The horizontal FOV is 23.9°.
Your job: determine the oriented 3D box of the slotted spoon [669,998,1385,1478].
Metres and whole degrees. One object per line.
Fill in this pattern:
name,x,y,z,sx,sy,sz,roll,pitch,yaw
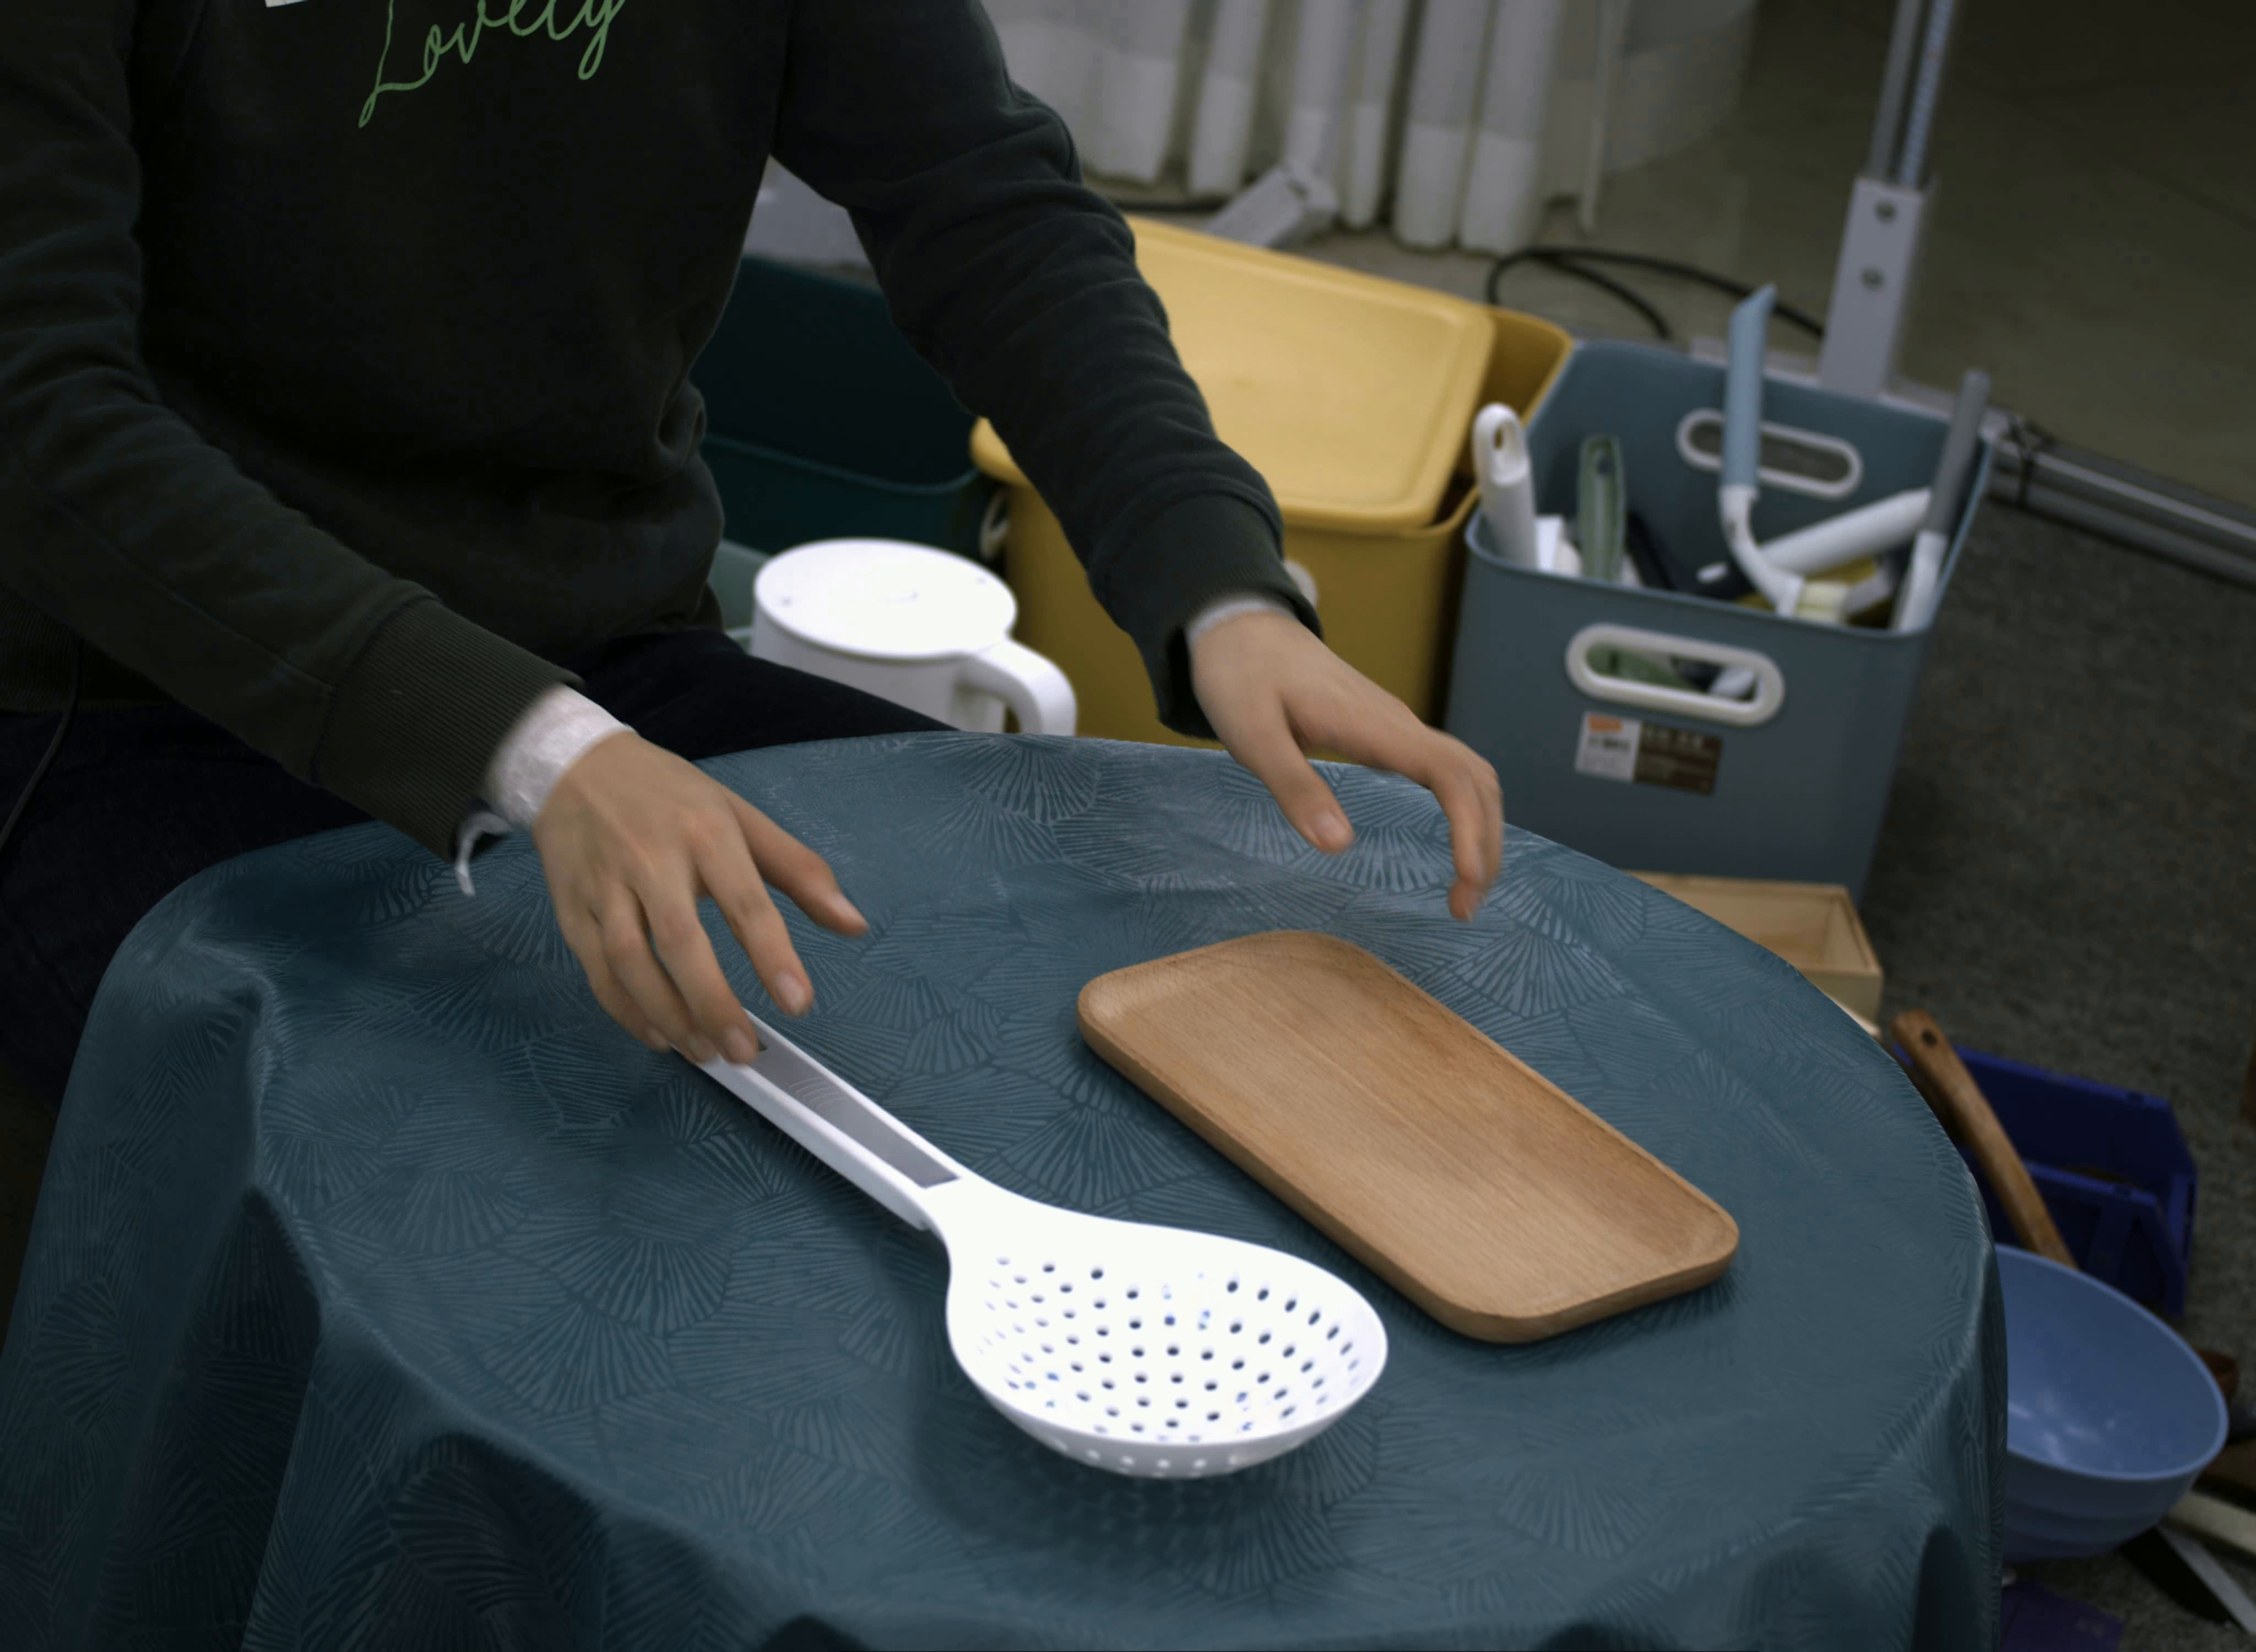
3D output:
slotted spoon,-0.051,0.127,1.731,0.135,0.045,0.353,-13,32,-33

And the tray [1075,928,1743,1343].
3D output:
tray,0.093,0.104,1.841,0.130,0.023,0.253,-11,31,-34
